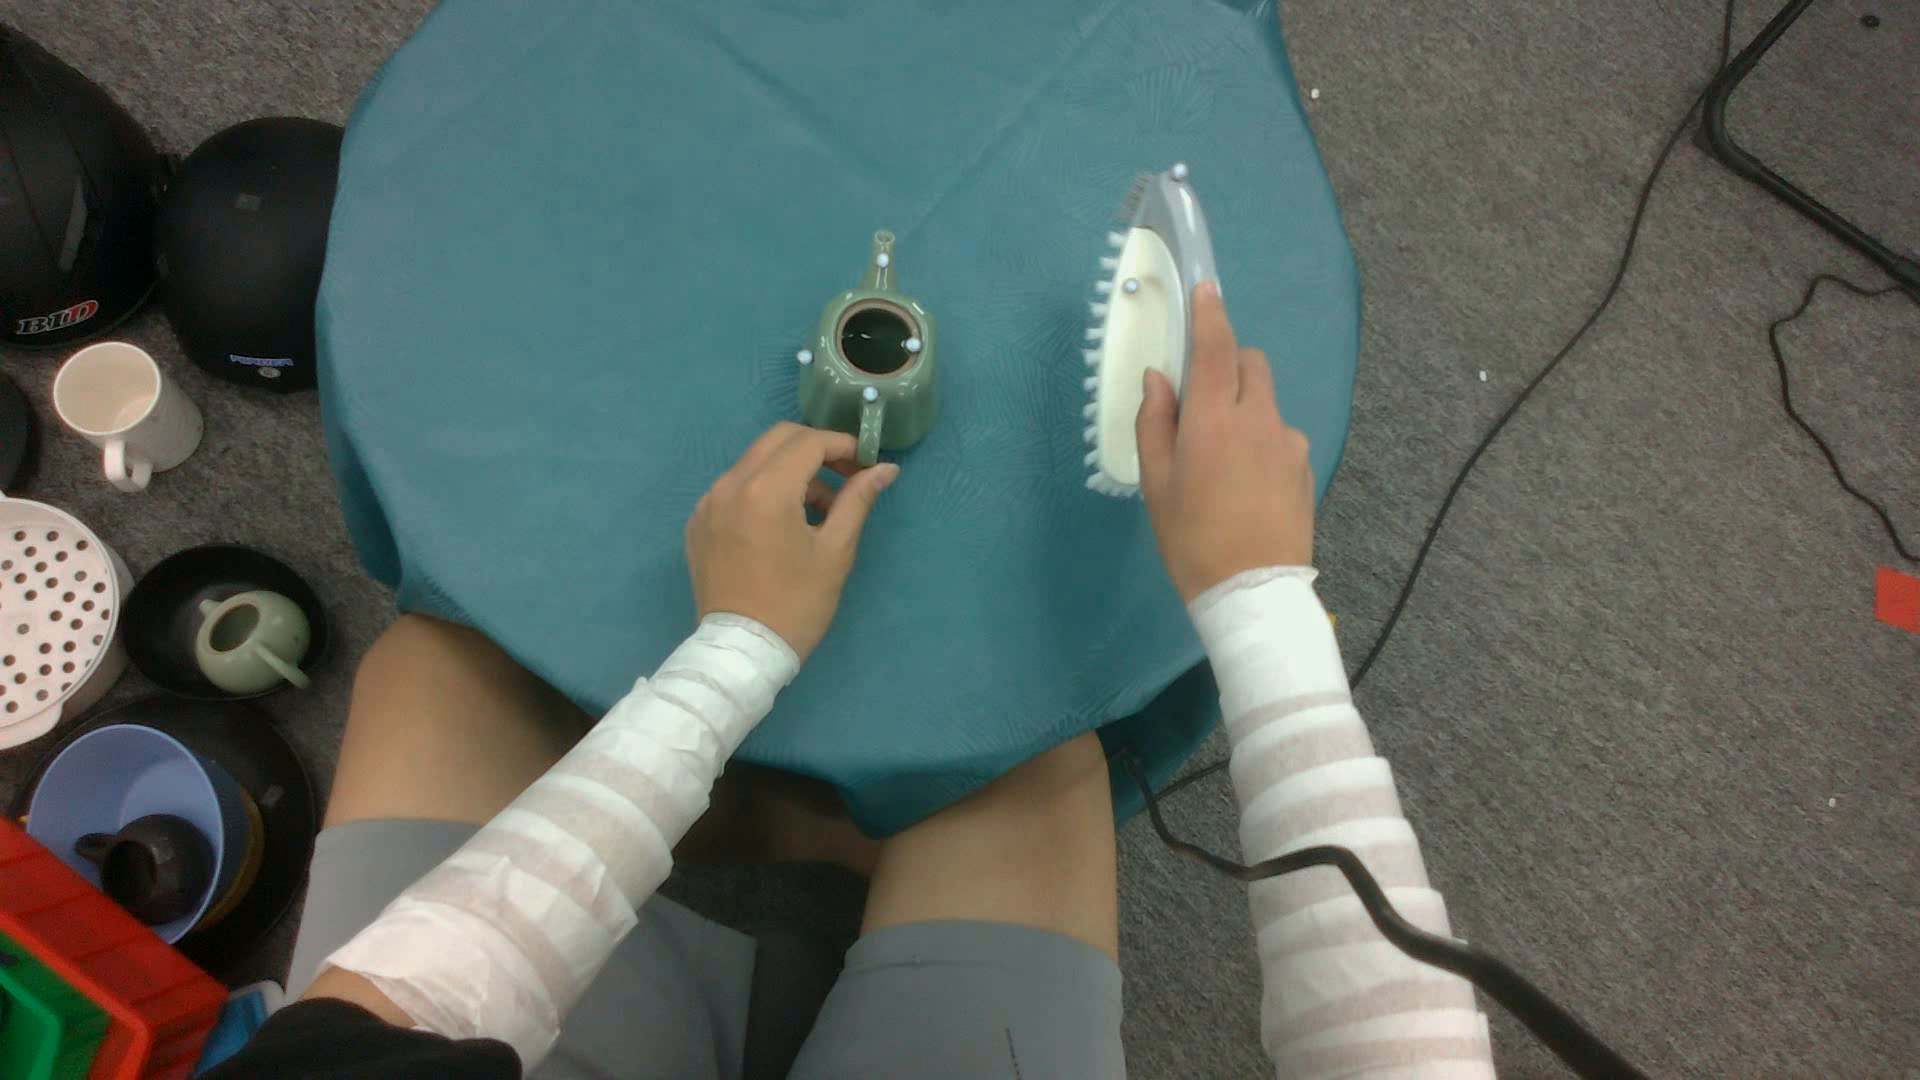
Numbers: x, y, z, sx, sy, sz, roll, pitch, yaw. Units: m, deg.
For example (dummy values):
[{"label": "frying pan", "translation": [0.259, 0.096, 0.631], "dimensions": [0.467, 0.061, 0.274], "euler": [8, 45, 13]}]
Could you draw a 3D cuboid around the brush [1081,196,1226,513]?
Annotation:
[{"label": "brush", "translation": [0.107, -0.106, 0.732], "dimensions": [0.061, 0.094, 0.176], "euler": [5, 82, -18]}]

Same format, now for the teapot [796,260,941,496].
[{"label": "teapot", "translation": [-0.050, -0.081, 0.761], "dimensions": [0.080, 0.075, 0.133], "euler": [6, 72, -3]}]
